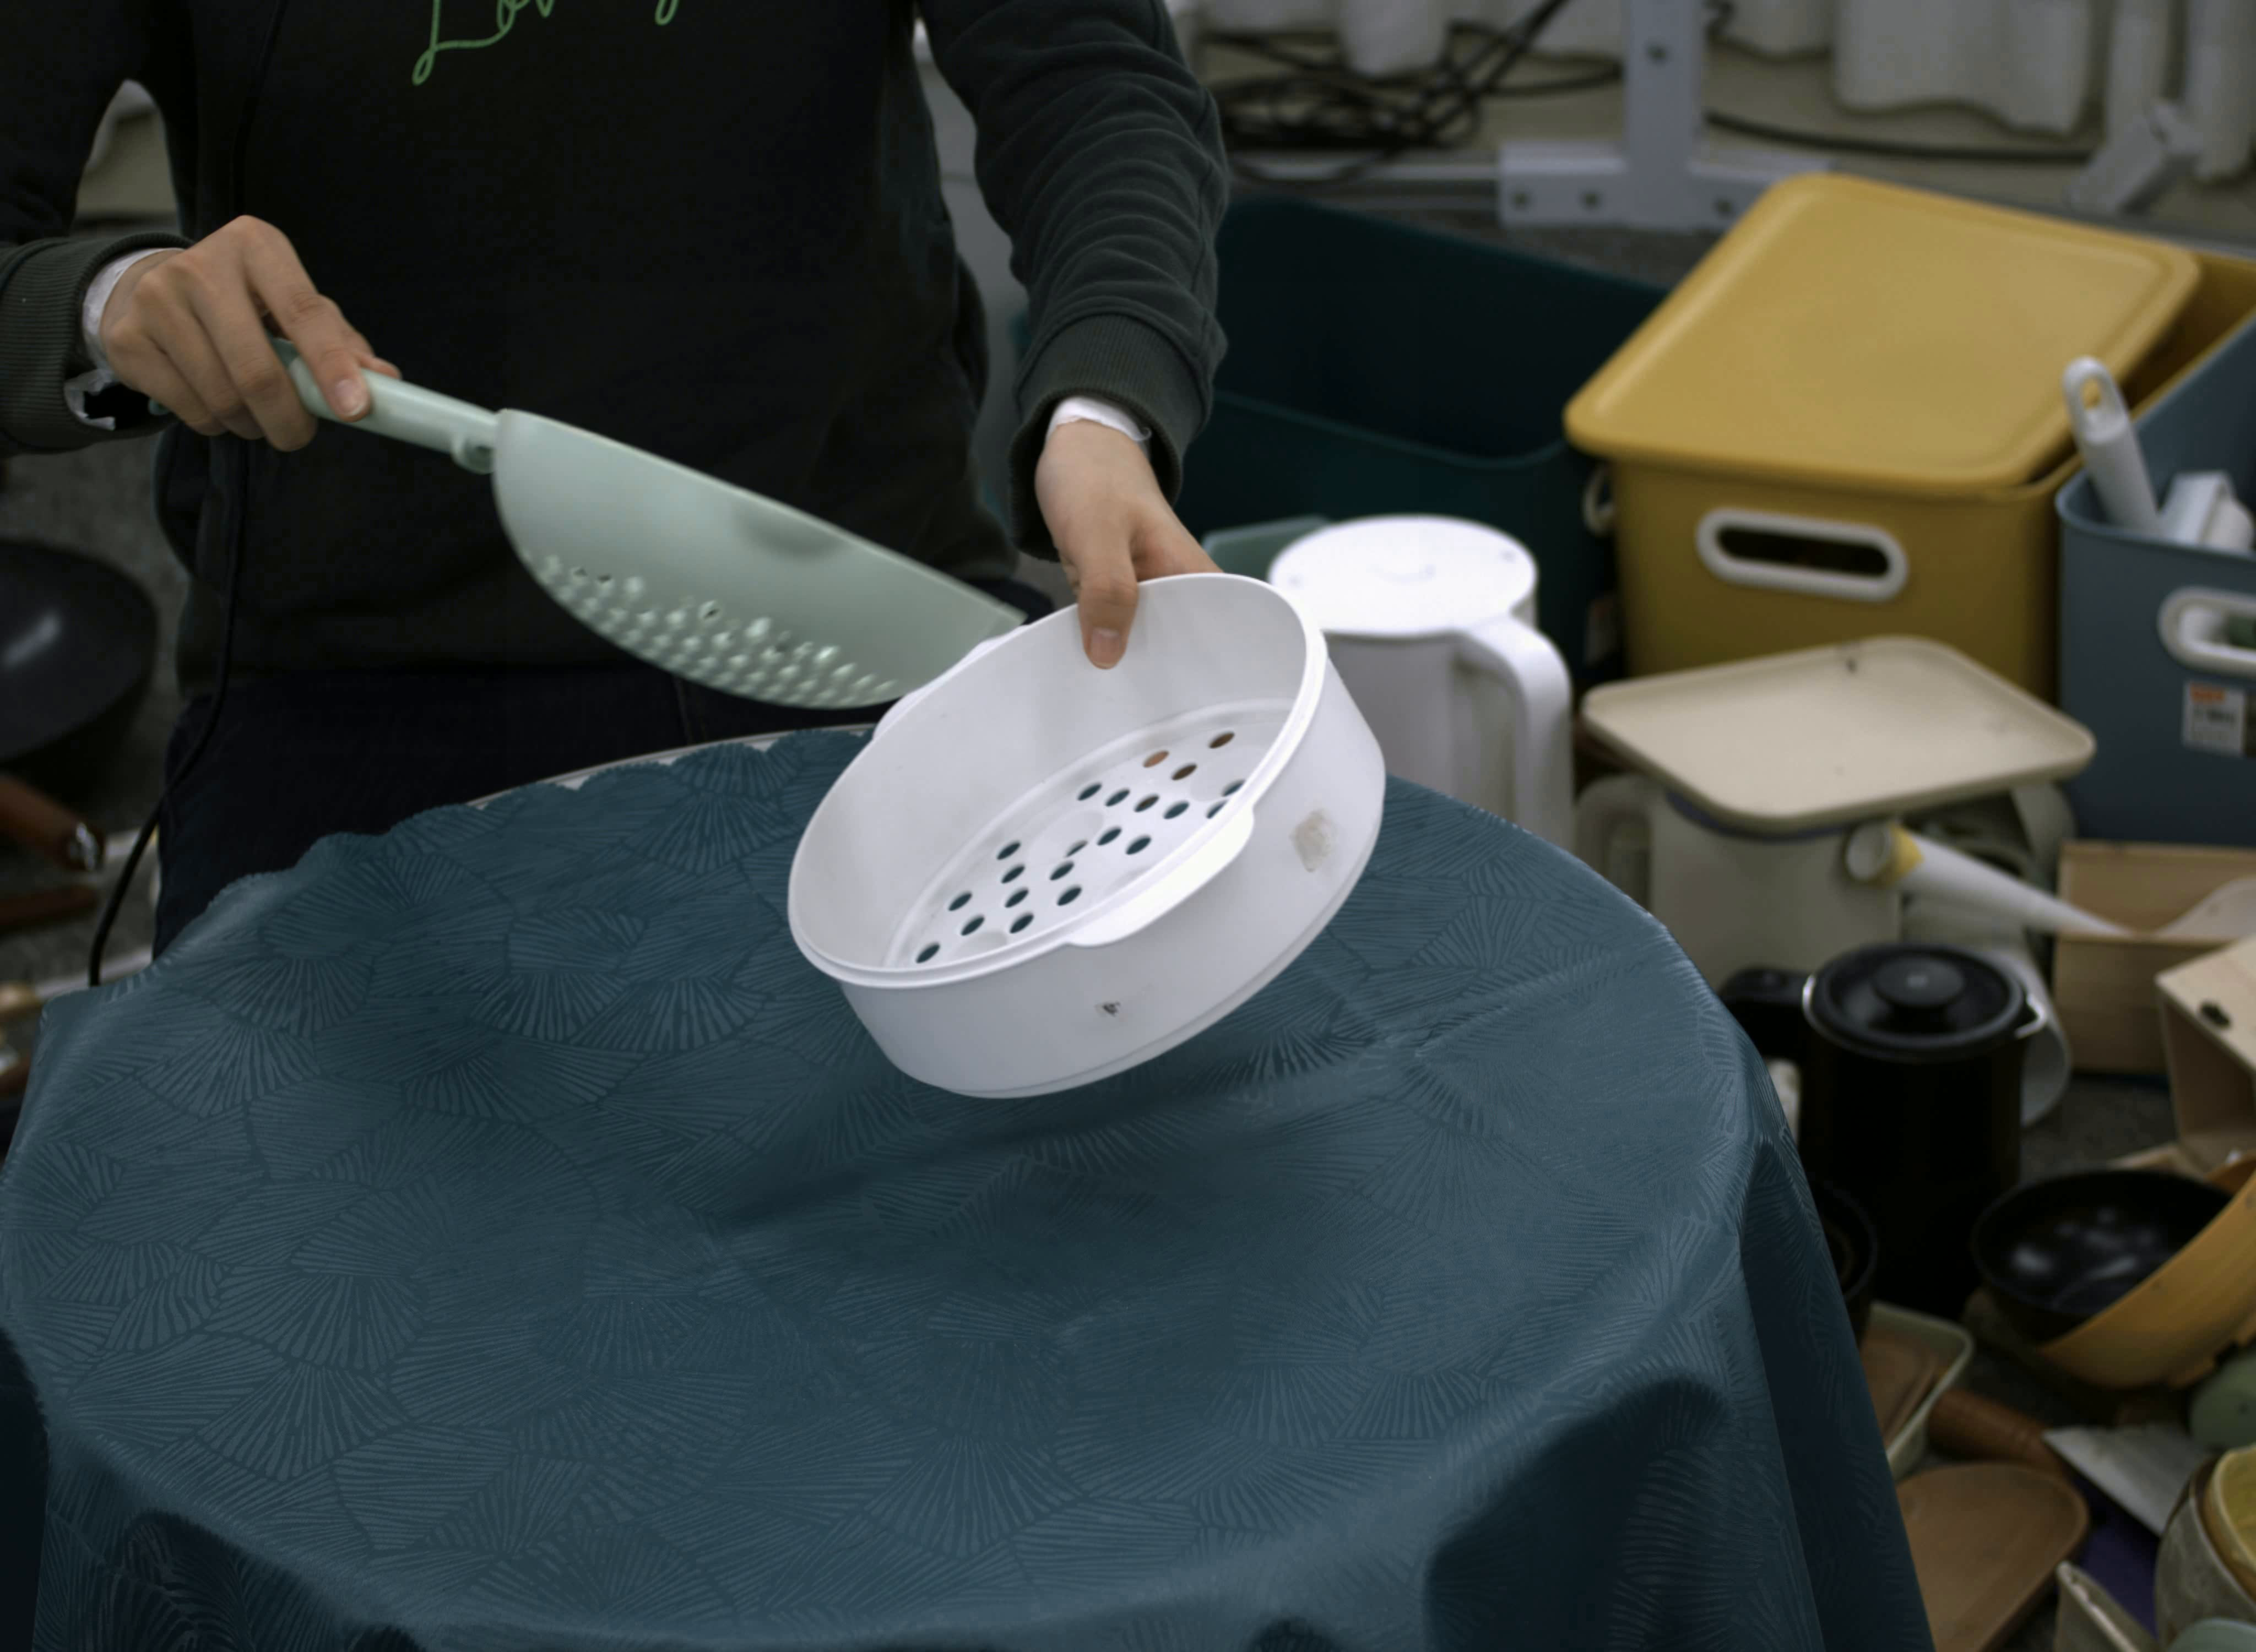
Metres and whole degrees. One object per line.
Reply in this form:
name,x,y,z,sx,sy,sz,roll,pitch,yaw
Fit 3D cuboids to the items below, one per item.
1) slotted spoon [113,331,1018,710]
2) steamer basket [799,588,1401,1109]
slotted spoon,-0.201,-0.114,1.831,0.359,0.075,0.169,29,0,35
steamer basket,-0.007,0.009,1.845,0.202,0.068,0.231,-35,28,-9
